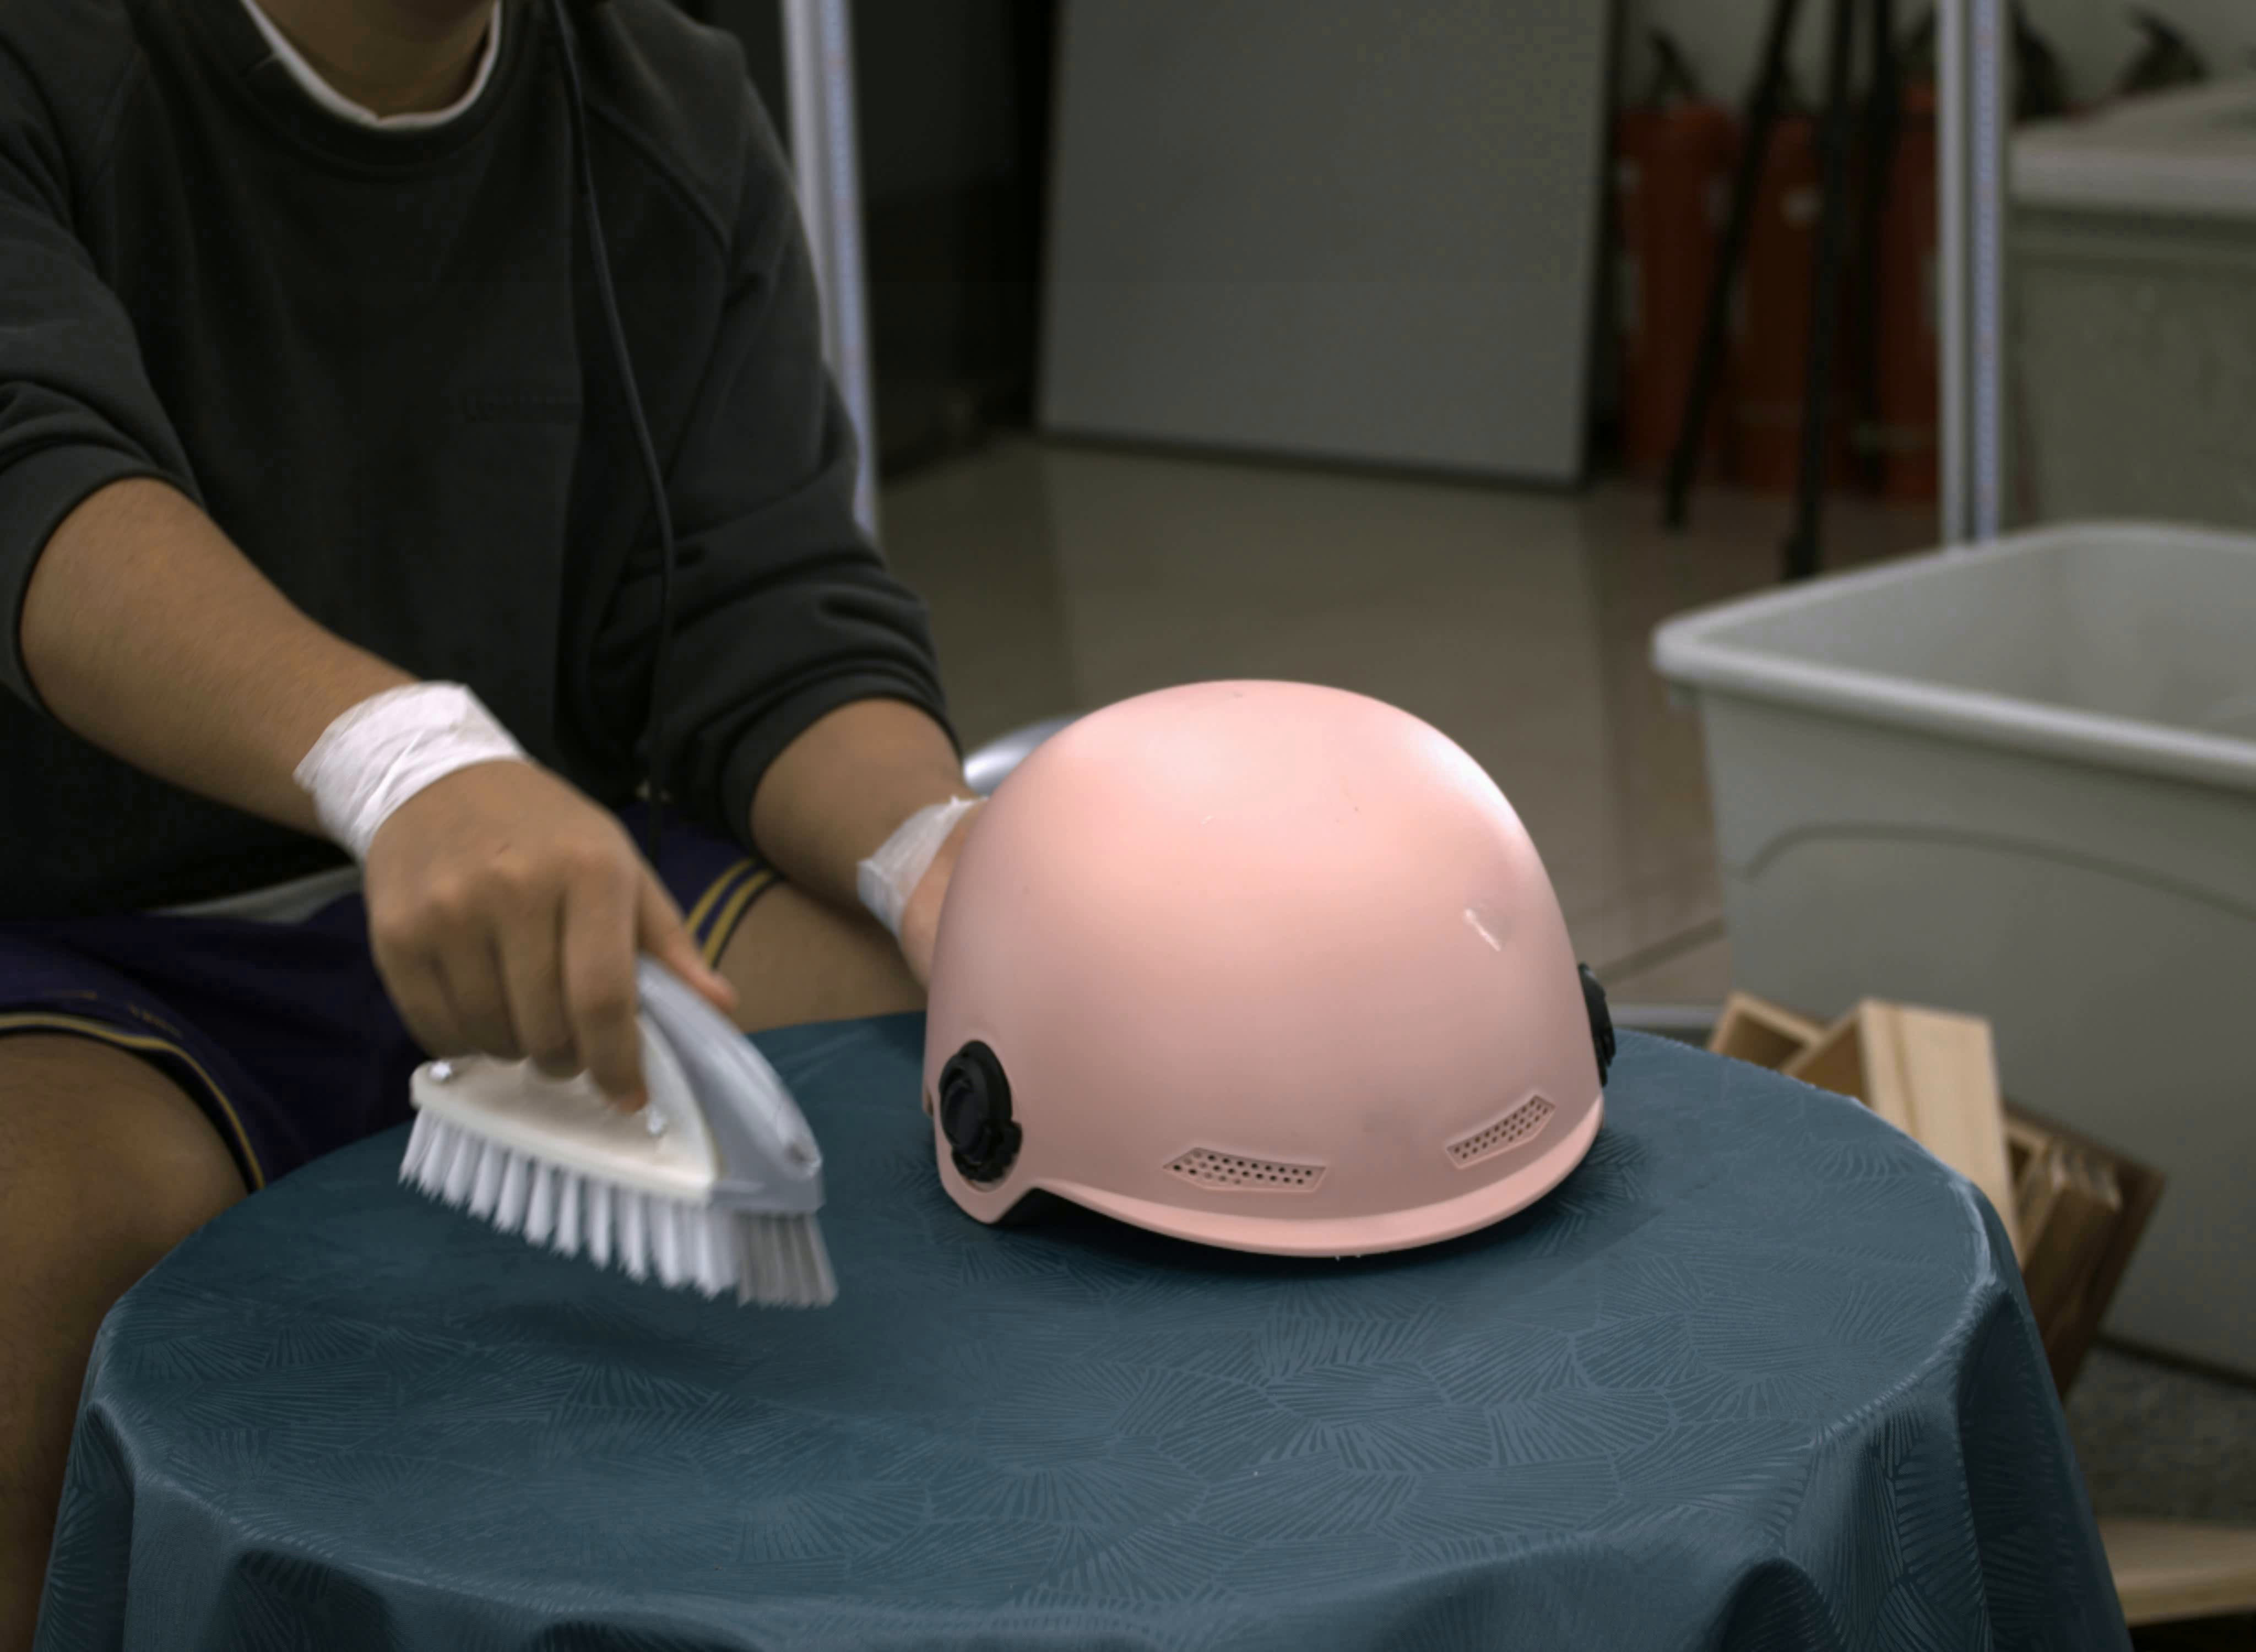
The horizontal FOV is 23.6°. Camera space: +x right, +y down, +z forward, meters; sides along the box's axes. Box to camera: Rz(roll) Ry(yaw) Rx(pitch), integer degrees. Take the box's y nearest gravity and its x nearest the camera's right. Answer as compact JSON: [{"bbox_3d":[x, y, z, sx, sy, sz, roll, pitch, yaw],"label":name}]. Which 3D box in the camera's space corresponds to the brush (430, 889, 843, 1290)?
[{"bbox_3d":[-0.143,0.075,1.632,0.060,0.095,0.177,-15,25,-40],"label":"brush"}]

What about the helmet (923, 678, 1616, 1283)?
[{"bbox_3d":[0.043,0.038,1.776,0.229,0.160,0.268,-7,17,-16],"label":"helmet"}]
